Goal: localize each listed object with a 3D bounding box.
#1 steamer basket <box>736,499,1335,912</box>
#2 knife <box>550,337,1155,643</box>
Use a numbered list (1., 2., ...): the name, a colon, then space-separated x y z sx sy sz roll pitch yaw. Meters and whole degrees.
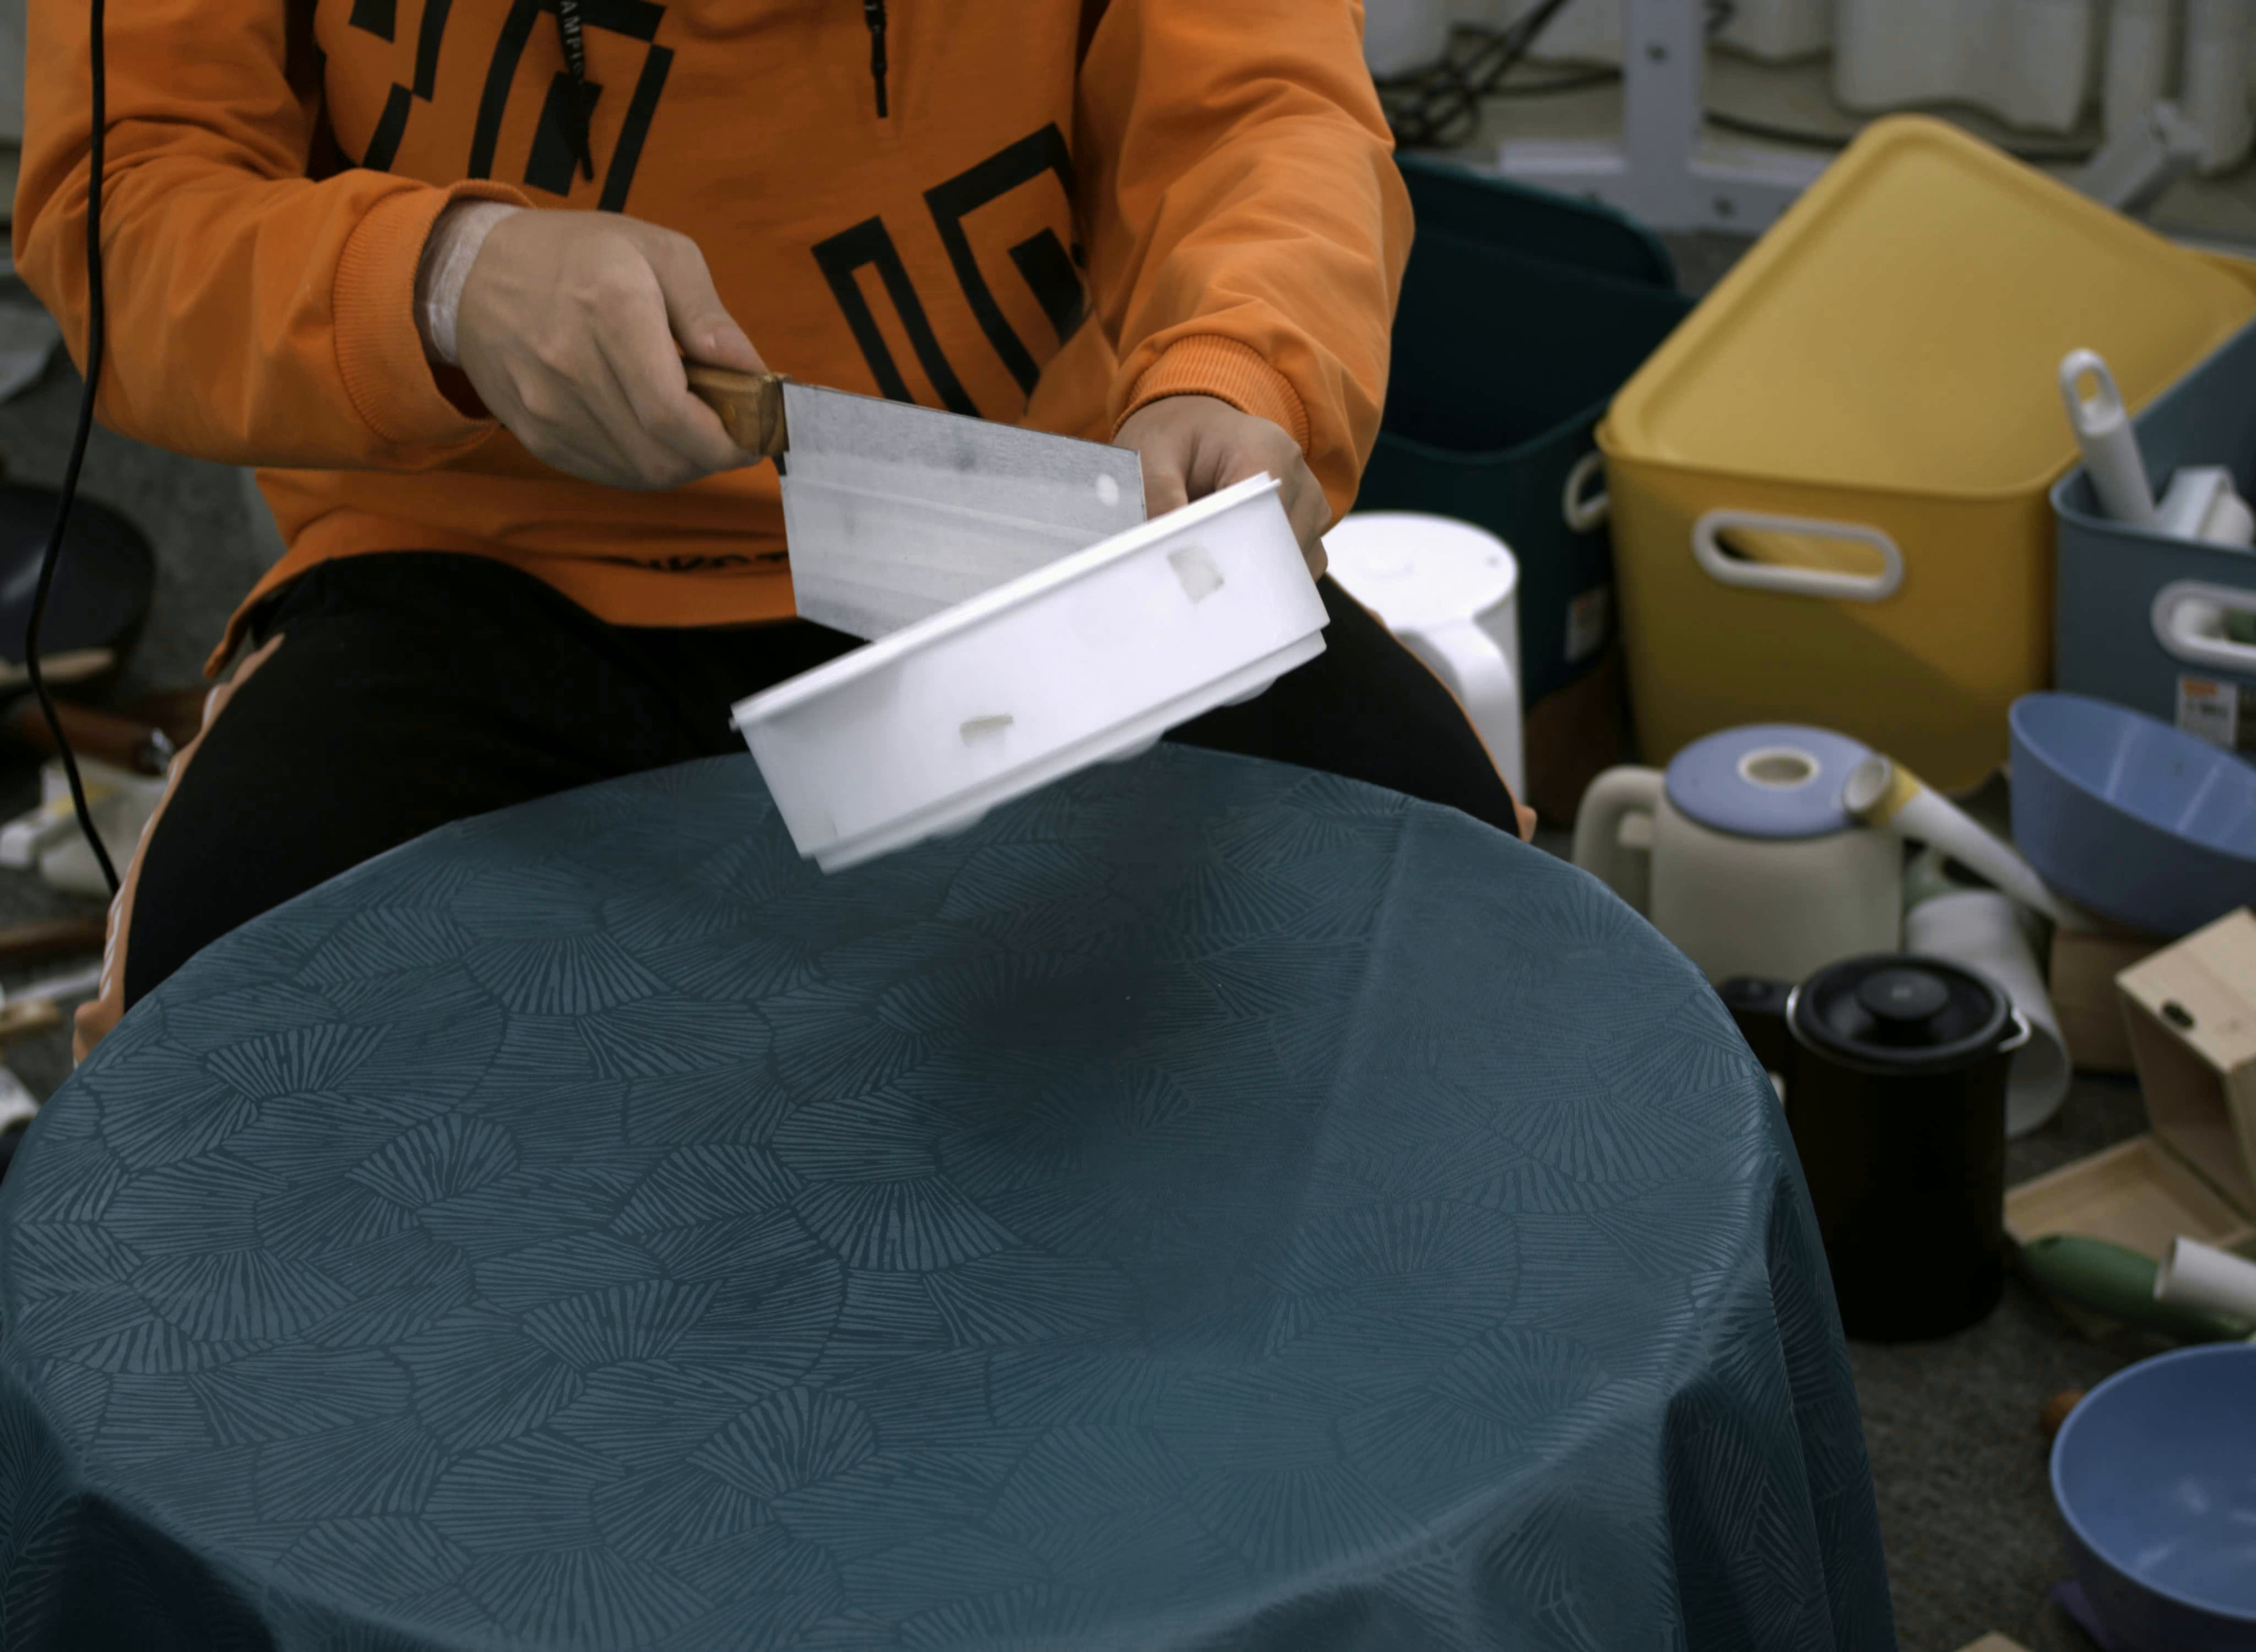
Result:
1. steamer basket: -0.028 -0.038 1.870 0.199 0.069 0.234 -19 9 41
2. knife: -0.096 -0.114 1.941 0.021 0.092 0.304 -23 26 -38
